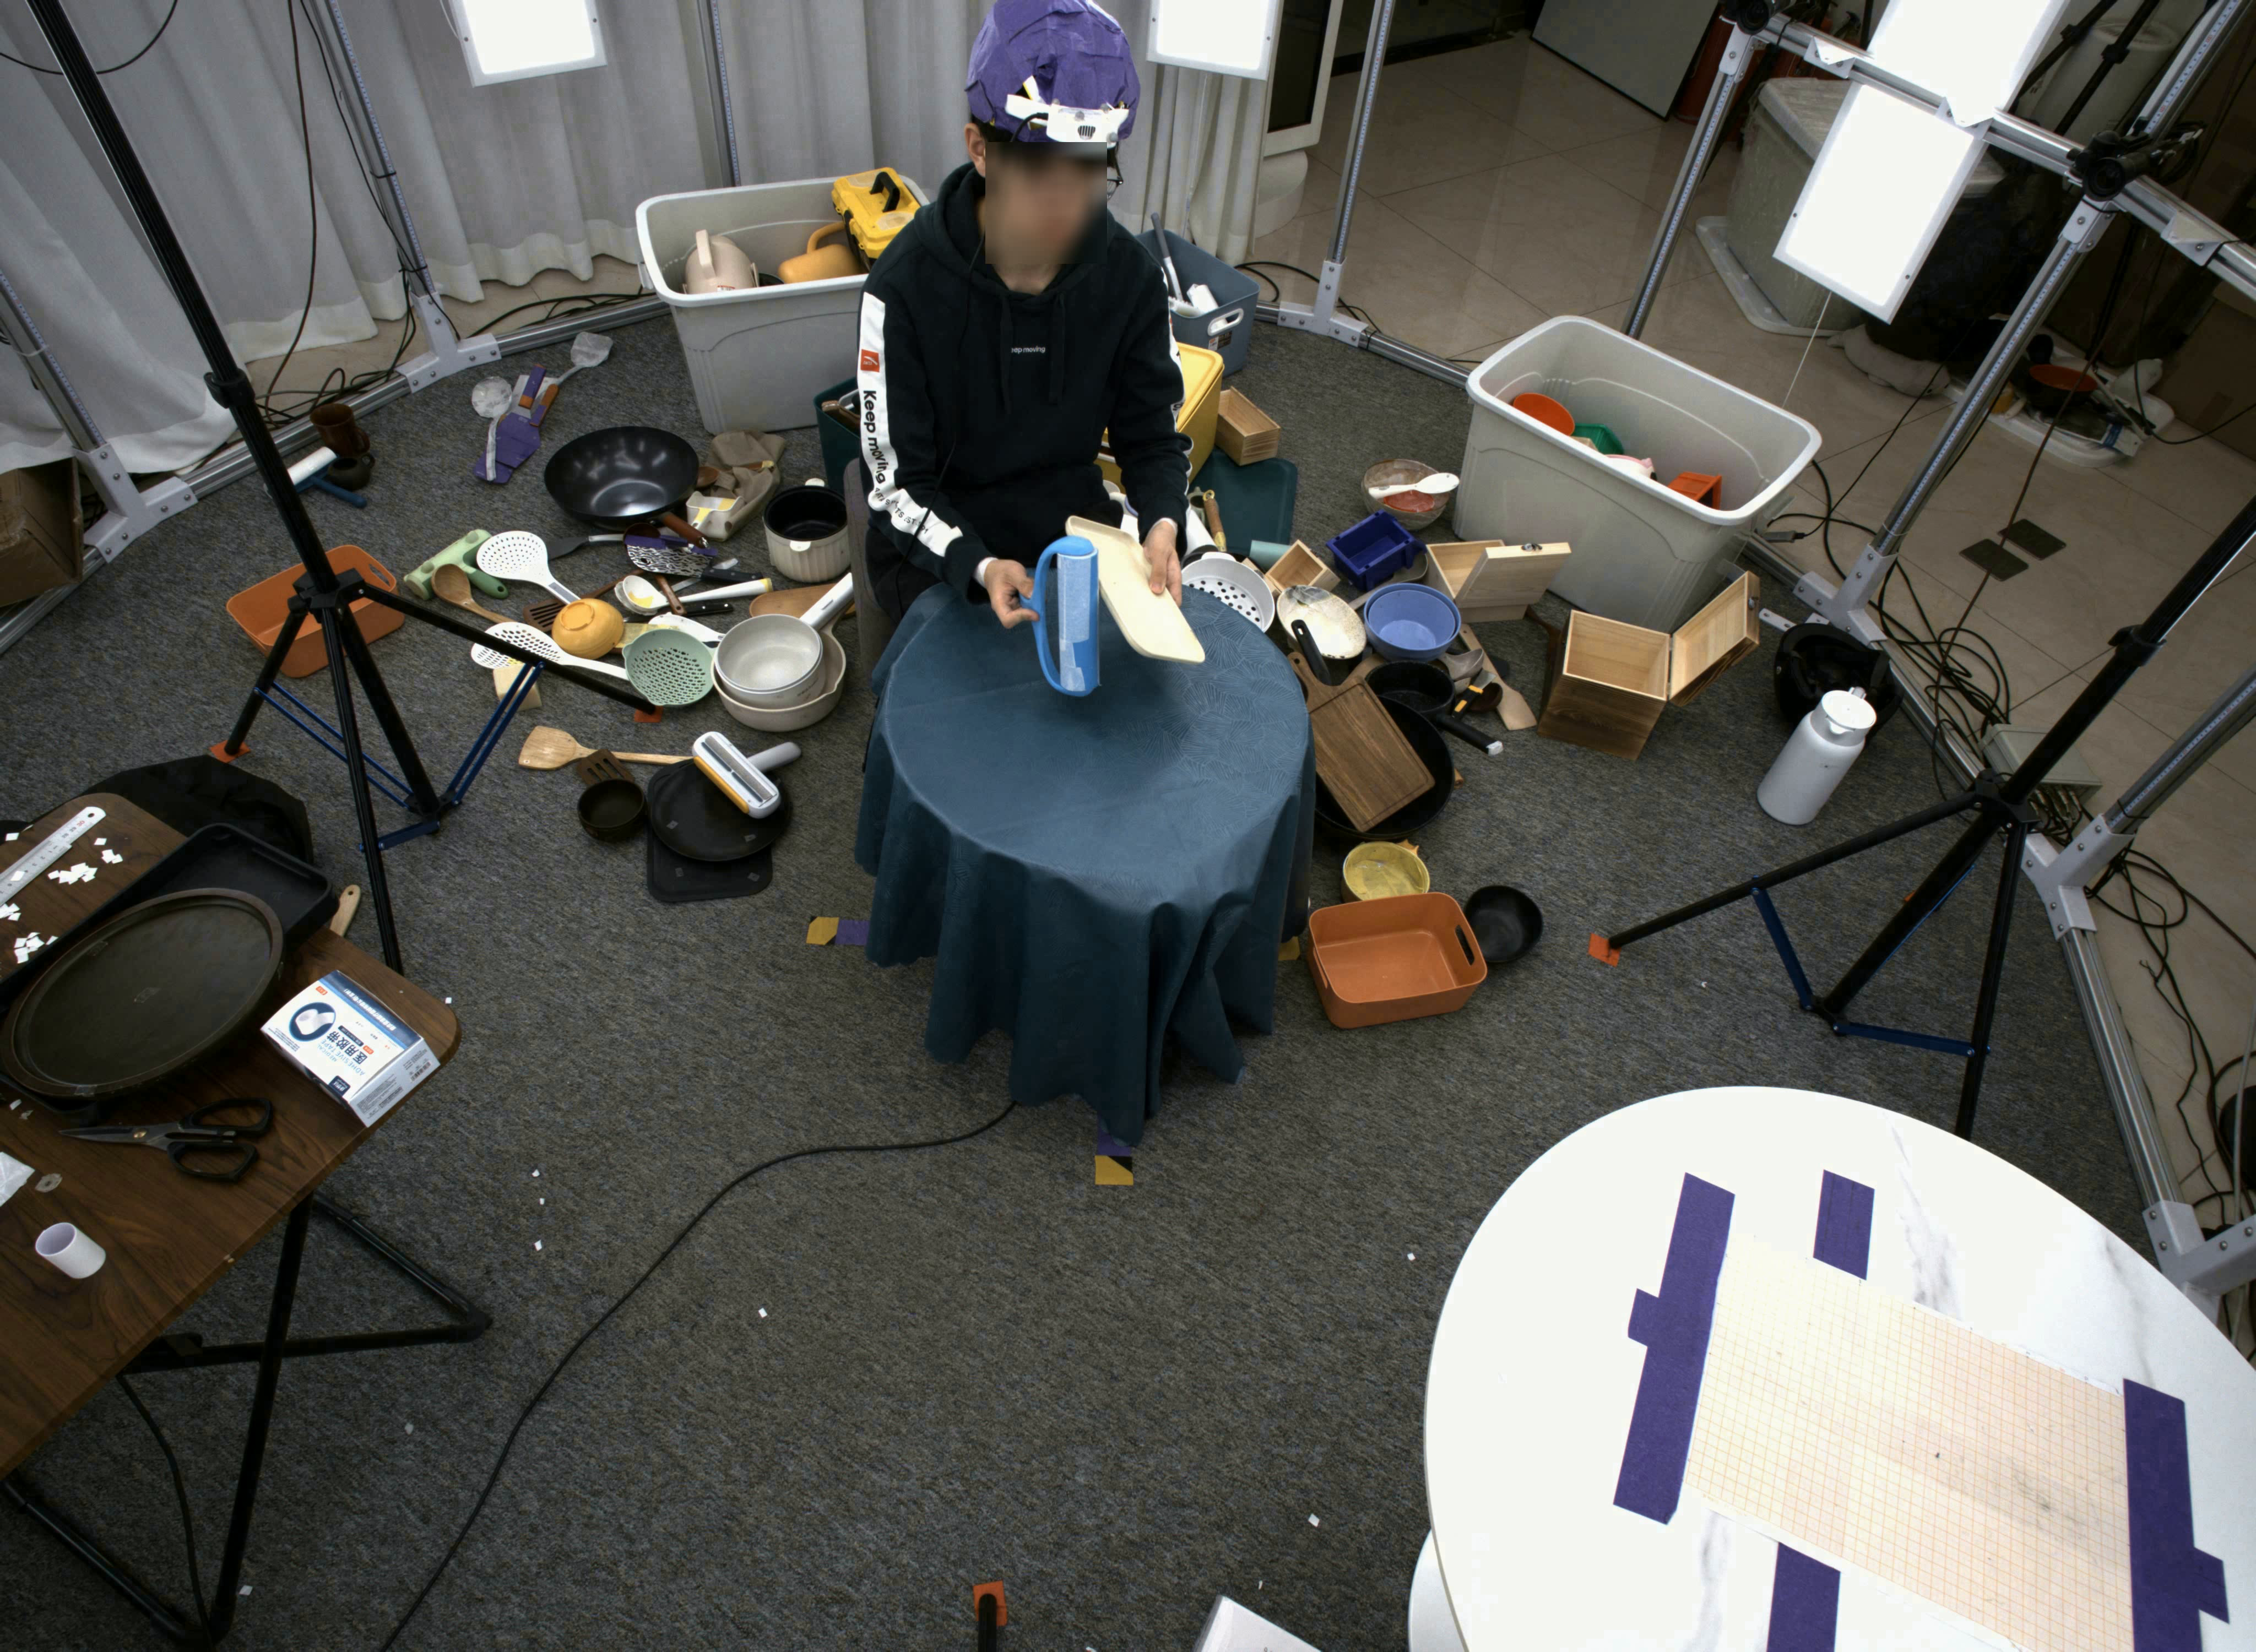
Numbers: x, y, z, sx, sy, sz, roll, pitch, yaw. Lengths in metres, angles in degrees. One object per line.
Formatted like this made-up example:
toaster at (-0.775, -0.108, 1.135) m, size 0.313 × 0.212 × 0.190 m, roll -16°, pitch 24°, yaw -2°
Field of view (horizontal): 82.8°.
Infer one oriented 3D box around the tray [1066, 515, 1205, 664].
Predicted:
tray at (0.009, -0.320, 1.759) m, size 0.170 × 0.017 × 0.243 m, roll 1°, pitch 55°, yaw -53°

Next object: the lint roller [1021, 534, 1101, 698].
lint roller at (-0.104, -0.296, 1.743) m, size 0.068 × 0.224 × 0.183 m, roll -25°, pitch 37°, yaw -33°
